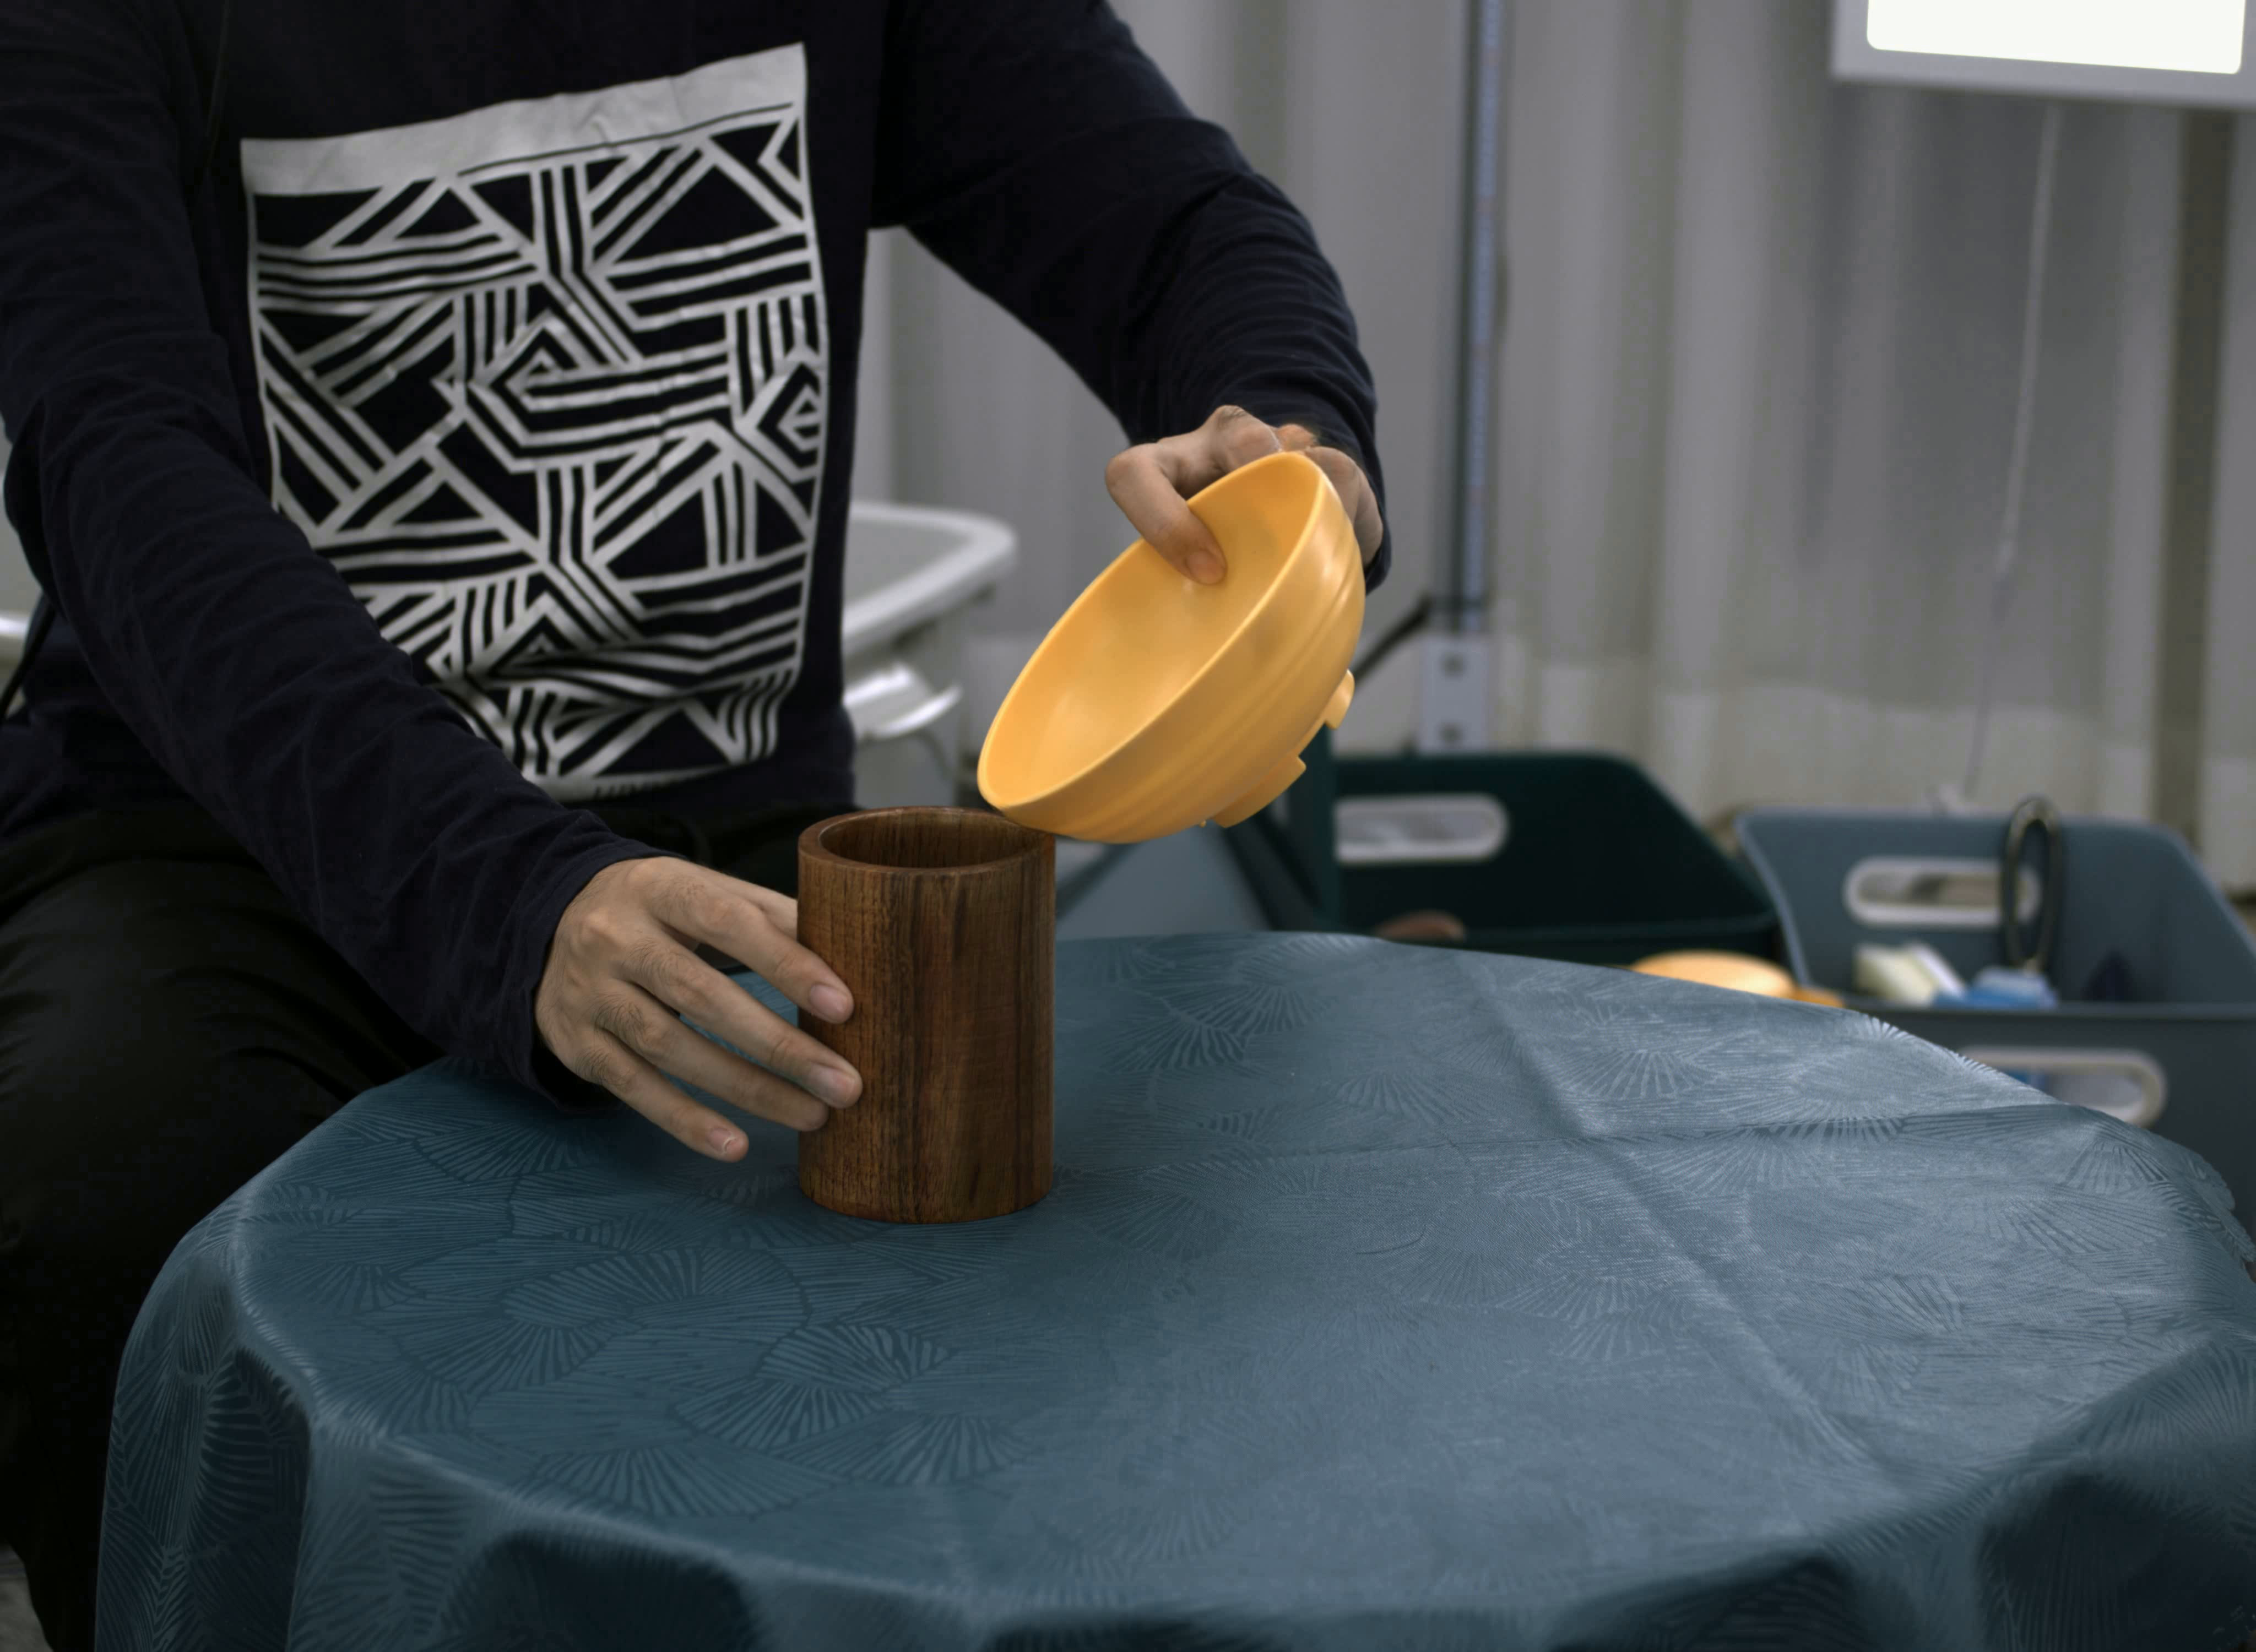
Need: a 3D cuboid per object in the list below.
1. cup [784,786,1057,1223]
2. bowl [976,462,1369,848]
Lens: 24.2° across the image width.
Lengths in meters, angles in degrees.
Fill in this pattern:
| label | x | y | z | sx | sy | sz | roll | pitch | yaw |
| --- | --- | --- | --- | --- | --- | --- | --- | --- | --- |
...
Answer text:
| label | x | y | z | sx | sy | sz | roll | pitch | yaw |
| --- | --- | --- | --- | --- | --- | --- | --- | --- | --- |
| cup | -0.065 | 0.054 | 1.614 | 0.087 | 0.119 | 0.087 | 3 | 15 | 0 |
| bowl | 0.026 | -0.040 | 1.608 | 0.145 | 0.060 | 0.144 | -39 | 19 | 17 |
